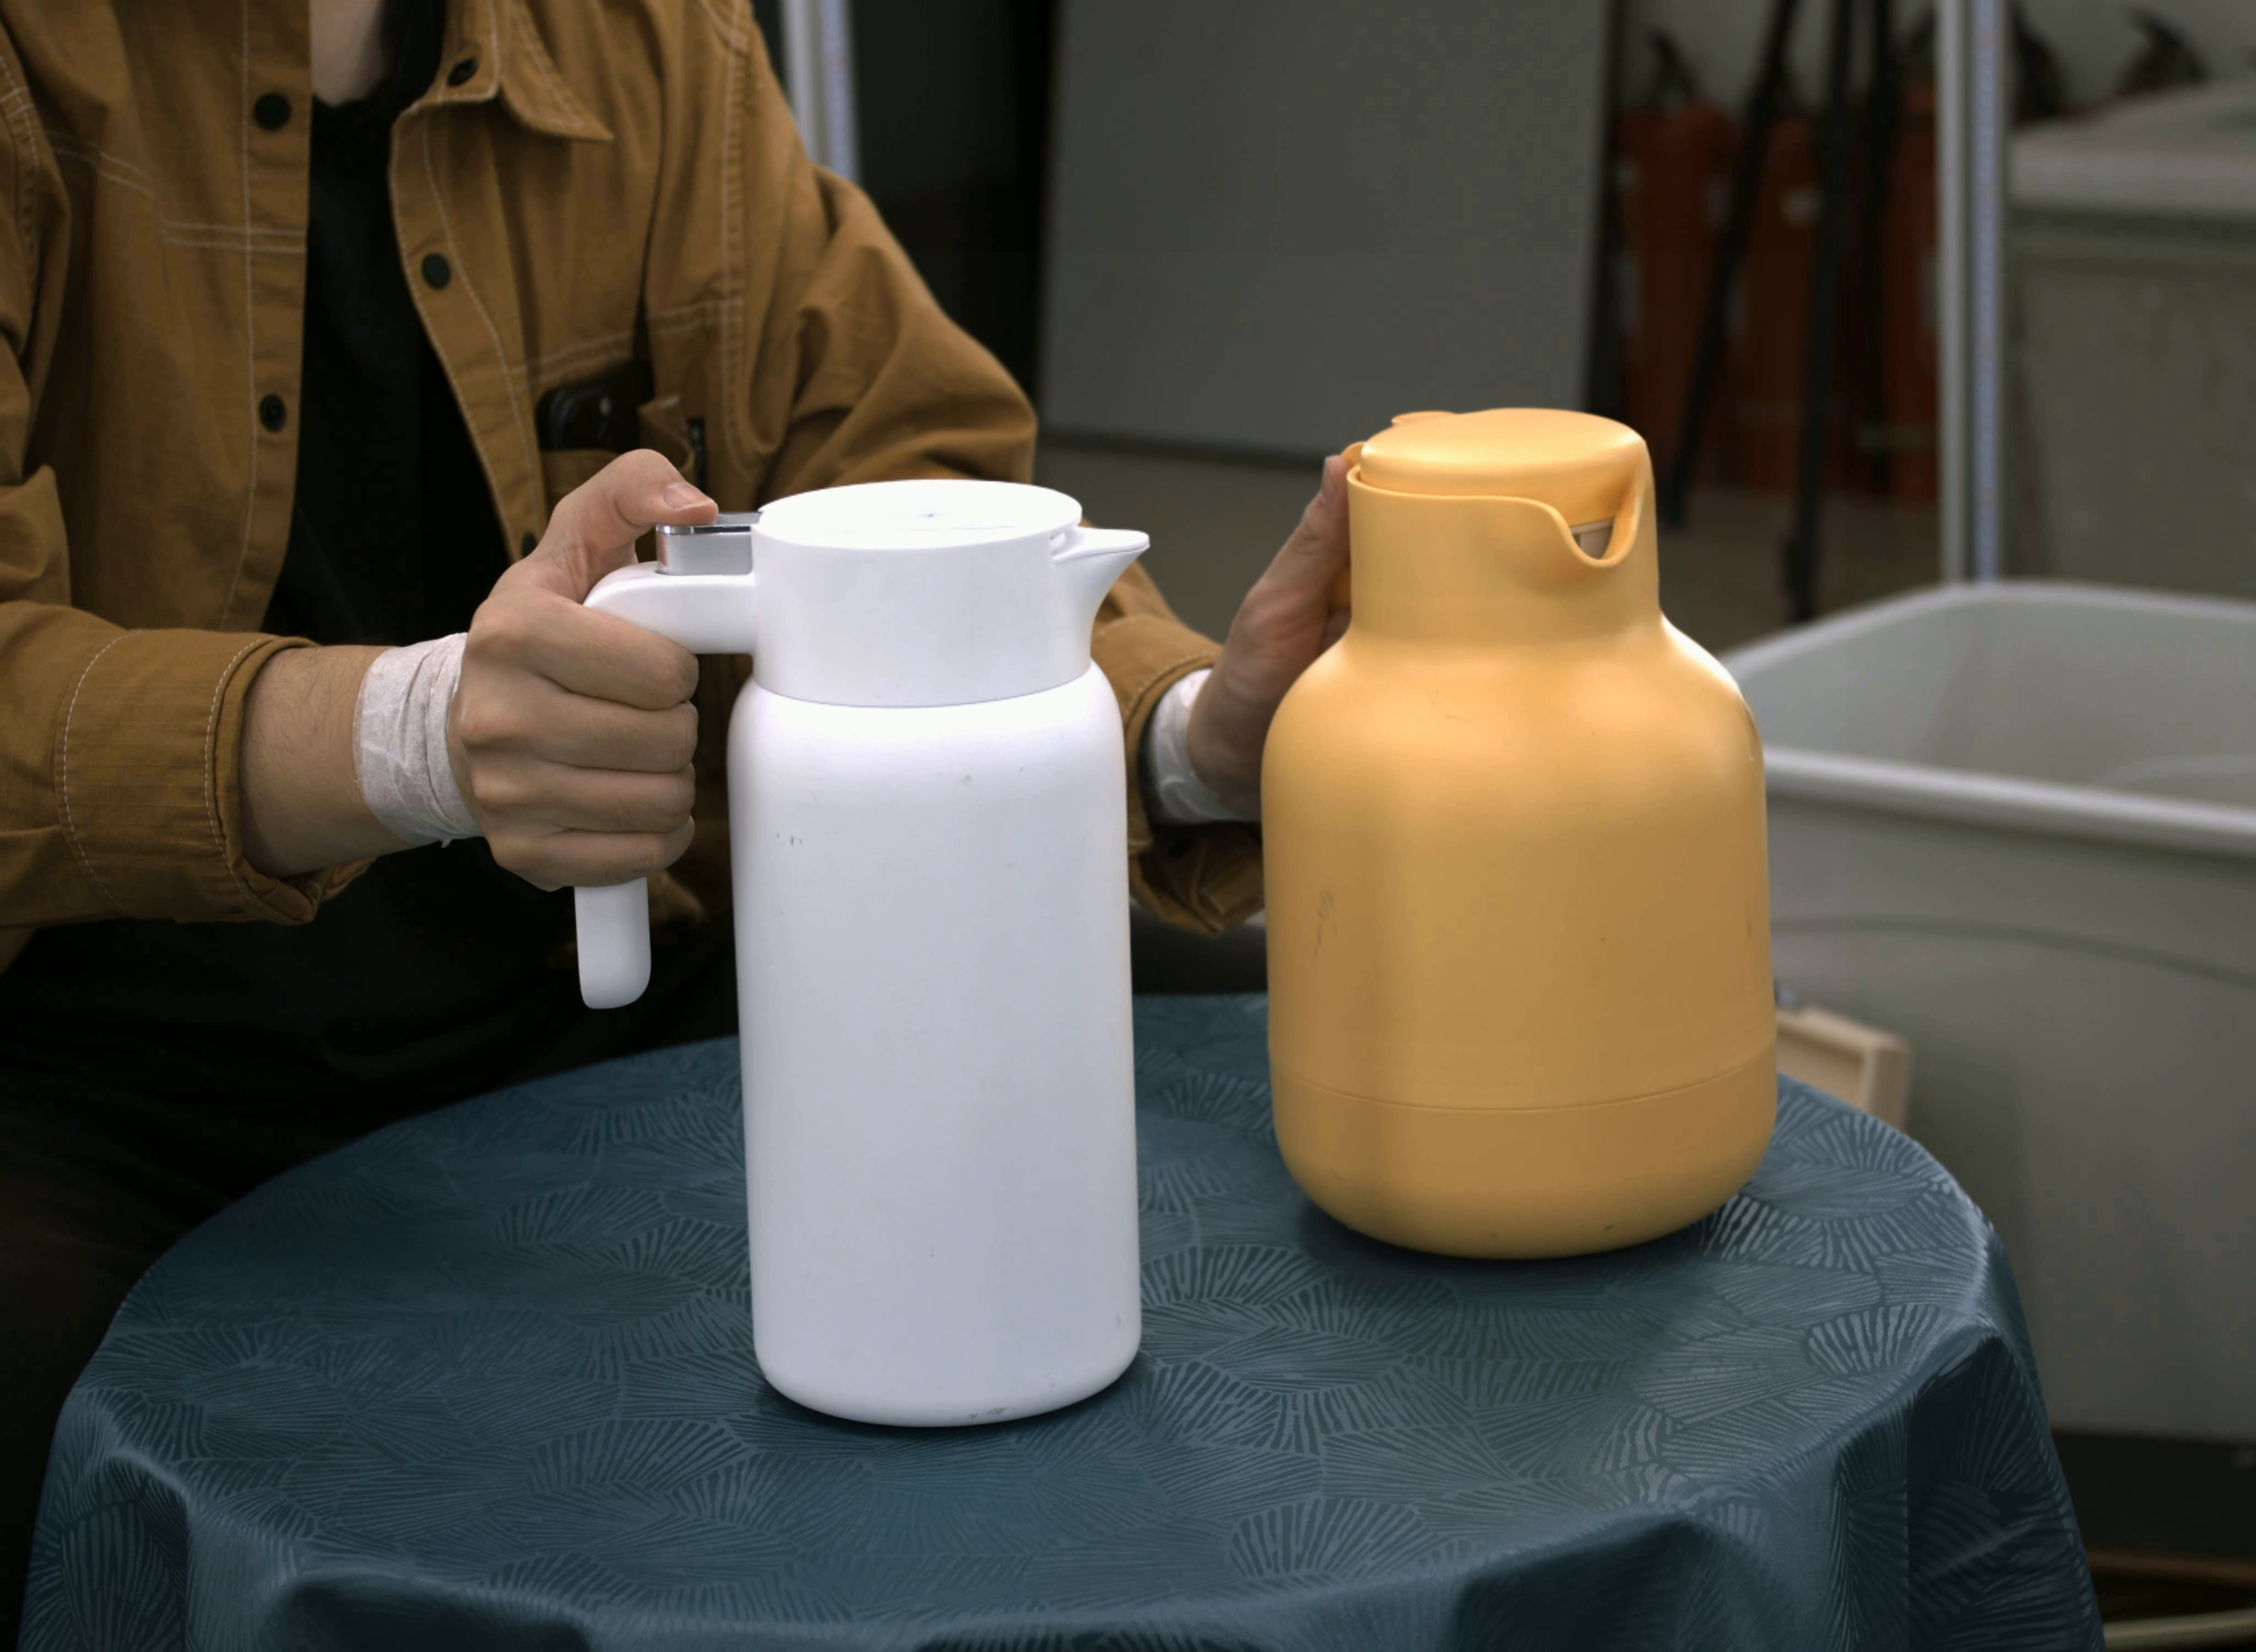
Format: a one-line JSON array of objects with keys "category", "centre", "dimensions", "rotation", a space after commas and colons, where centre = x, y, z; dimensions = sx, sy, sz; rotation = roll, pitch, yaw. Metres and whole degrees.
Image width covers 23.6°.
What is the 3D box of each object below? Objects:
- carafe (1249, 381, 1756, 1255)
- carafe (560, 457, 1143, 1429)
[{"category": "carafe", "centre": [0.113, -0.011, 1.718], "dimensions": [0.160, 0.263, 0.204], "rotation": [-5, 15, -17]}, {"category": "carafe", "centre": [-0.076, 0.034, 1.582], "dimensions": [0.171, 0.272, 0.124], "rotation": [-2, 16, 3]}]
